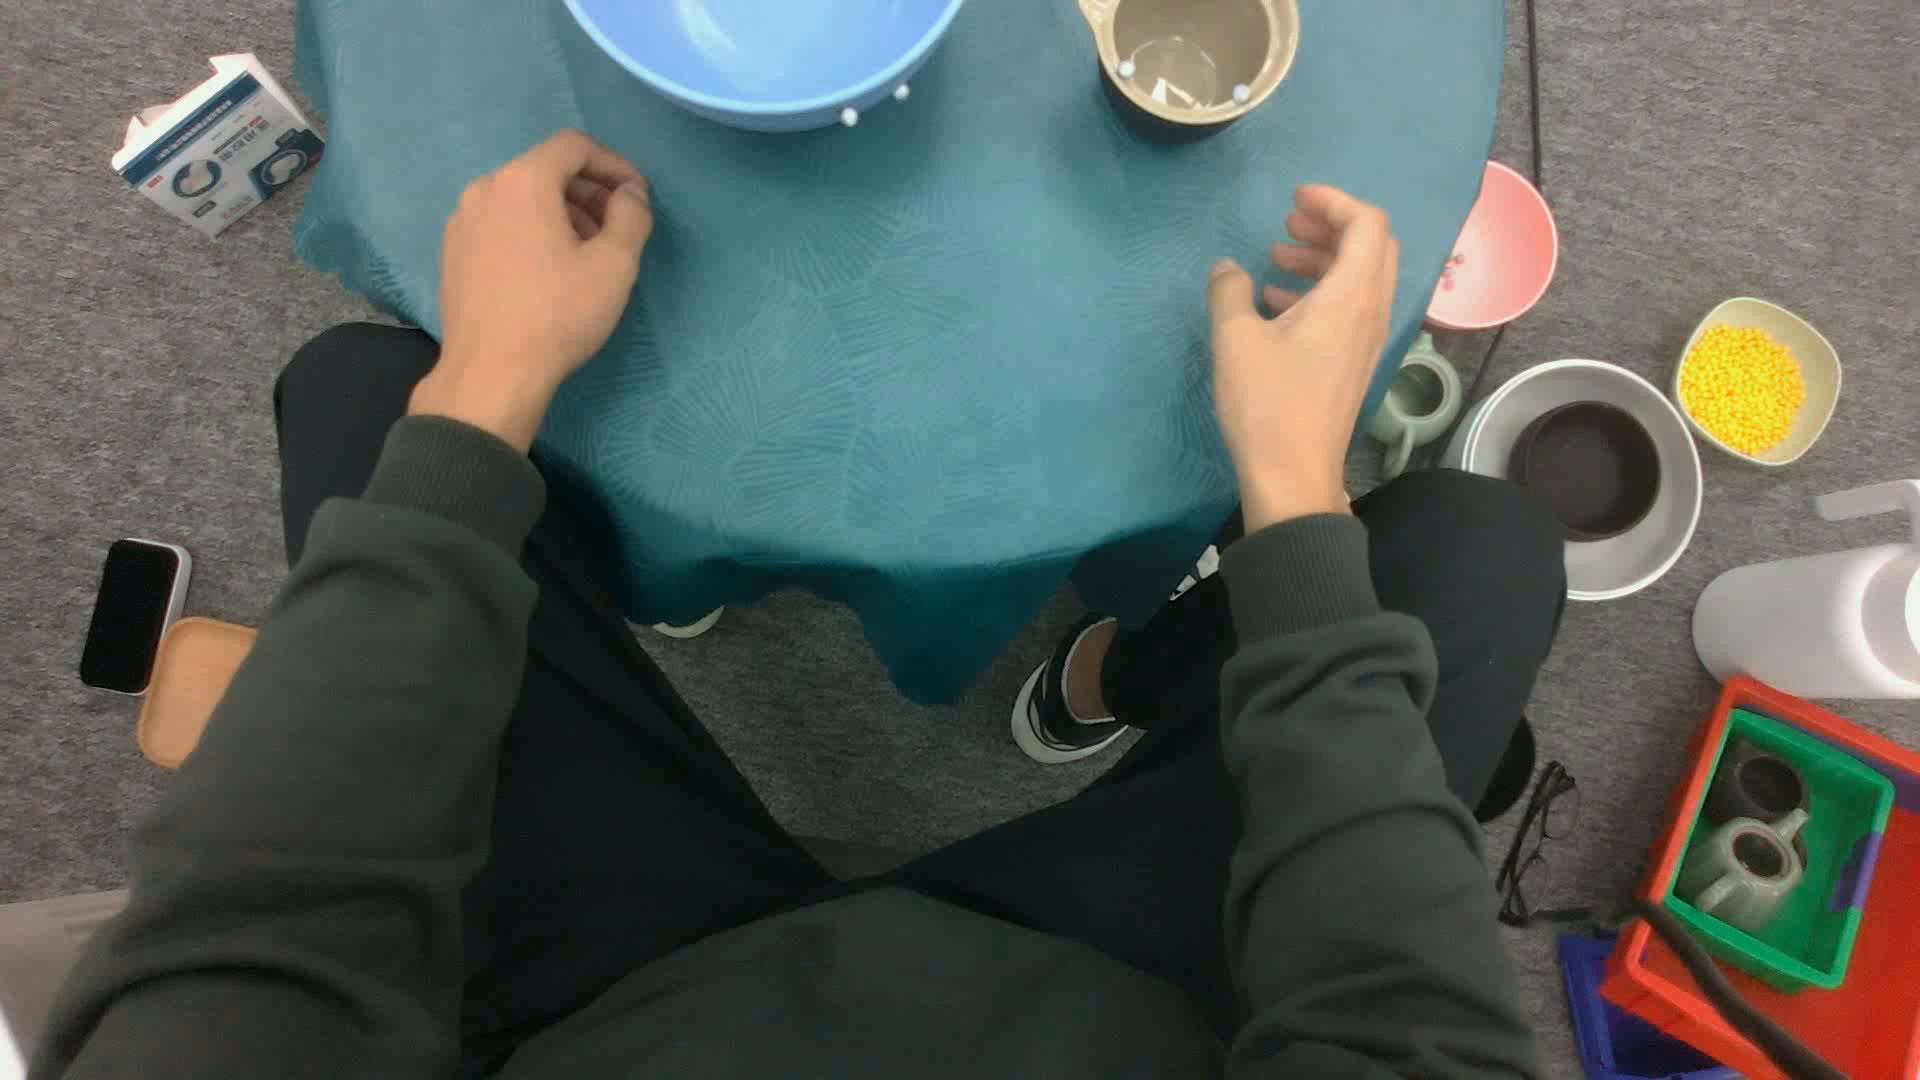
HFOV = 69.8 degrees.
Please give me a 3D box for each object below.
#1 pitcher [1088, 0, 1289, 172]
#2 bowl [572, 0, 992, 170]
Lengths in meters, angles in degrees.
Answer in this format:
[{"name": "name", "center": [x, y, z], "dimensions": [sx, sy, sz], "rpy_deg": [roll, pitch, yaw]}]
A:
[{"name": "pitcher", "center": [0.106, -0.222, 0.674], "dimensions": [0.096, 0.071, 0.084], "rpy_deg": [13, 84, 0]}, {"name": "bowl", "center": [-0.080, -0.264, 0.668], "dimensions": [0.196, 0.095, 0.196], "rpy_deg": [0, 85, 0]}]
